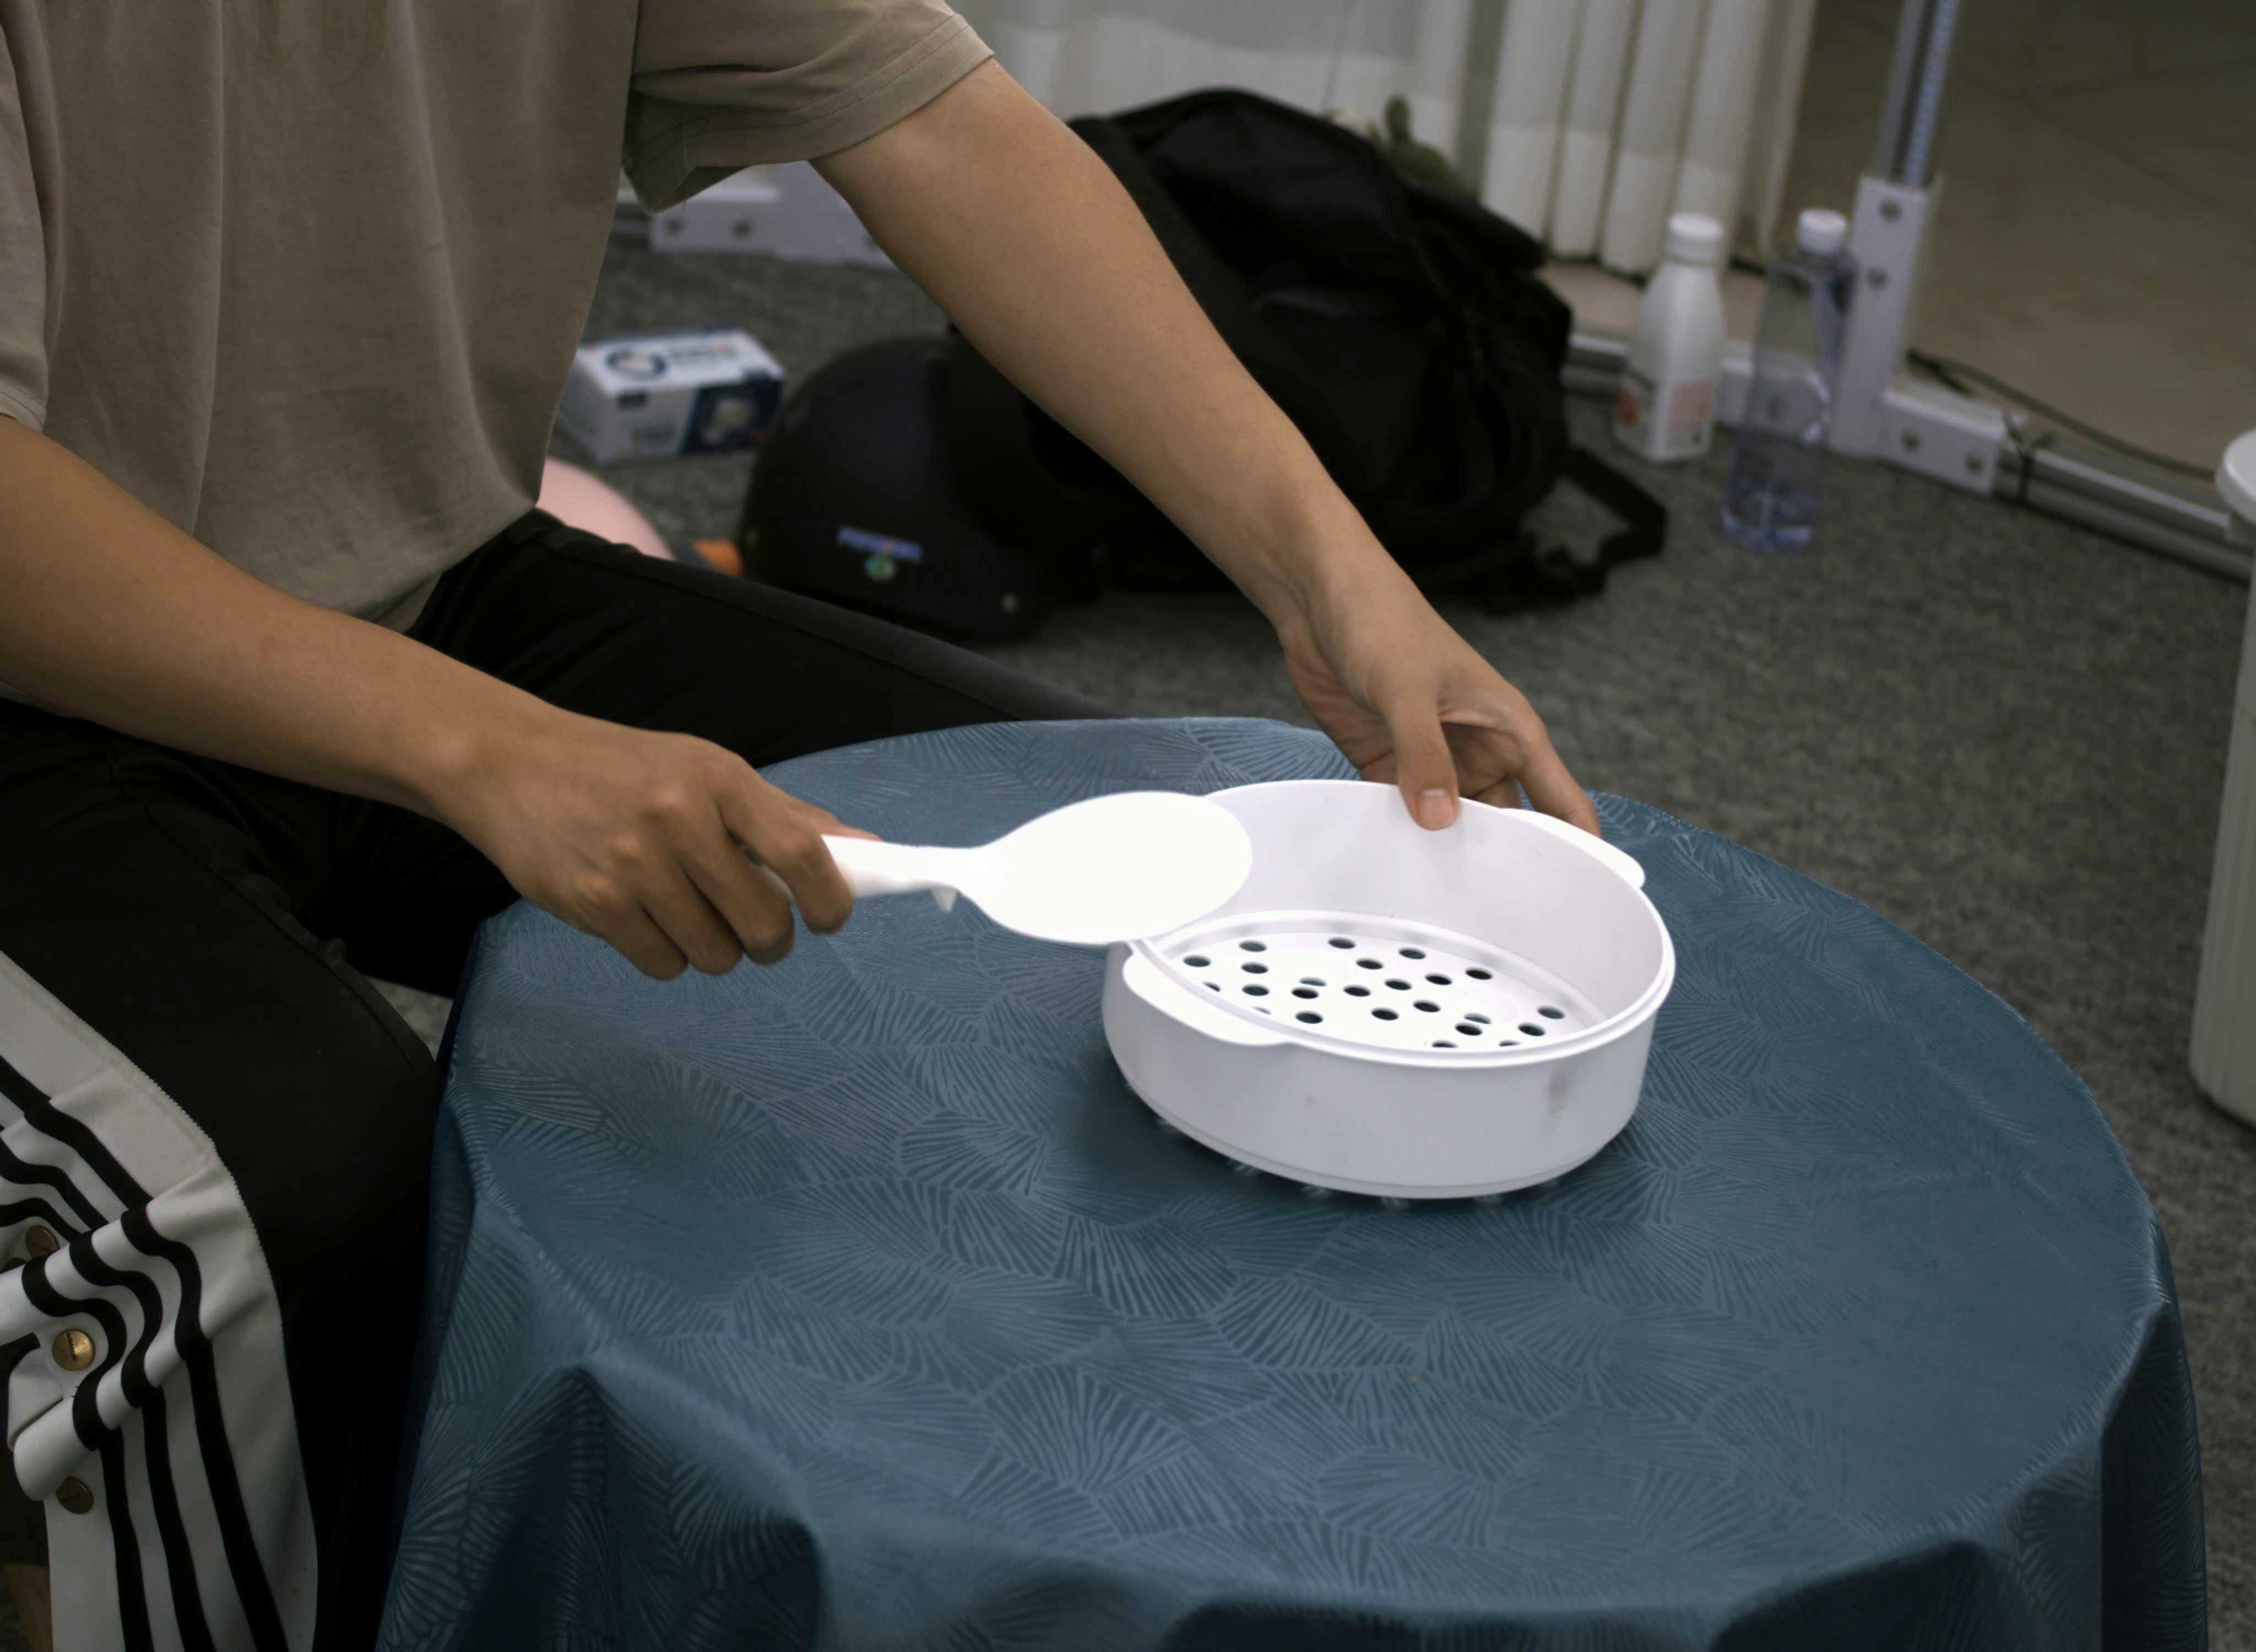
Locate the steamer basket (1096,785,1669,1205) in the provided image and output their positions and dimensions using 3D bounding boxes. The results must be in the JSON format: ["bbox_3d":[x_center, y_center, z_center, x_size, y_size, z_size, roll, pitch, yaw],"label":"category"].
[{"bbox_3d":[0.086,0.060,1.877,0.203,0.069,0.229,30,33,35],"label":"steamer basket"}]

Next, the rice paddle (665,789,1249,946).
[{"bbox_3d":[-0.056,0.015,1.746,0.206,0.029,0.069,-2,46,24],"label":"rice paddle"}]
